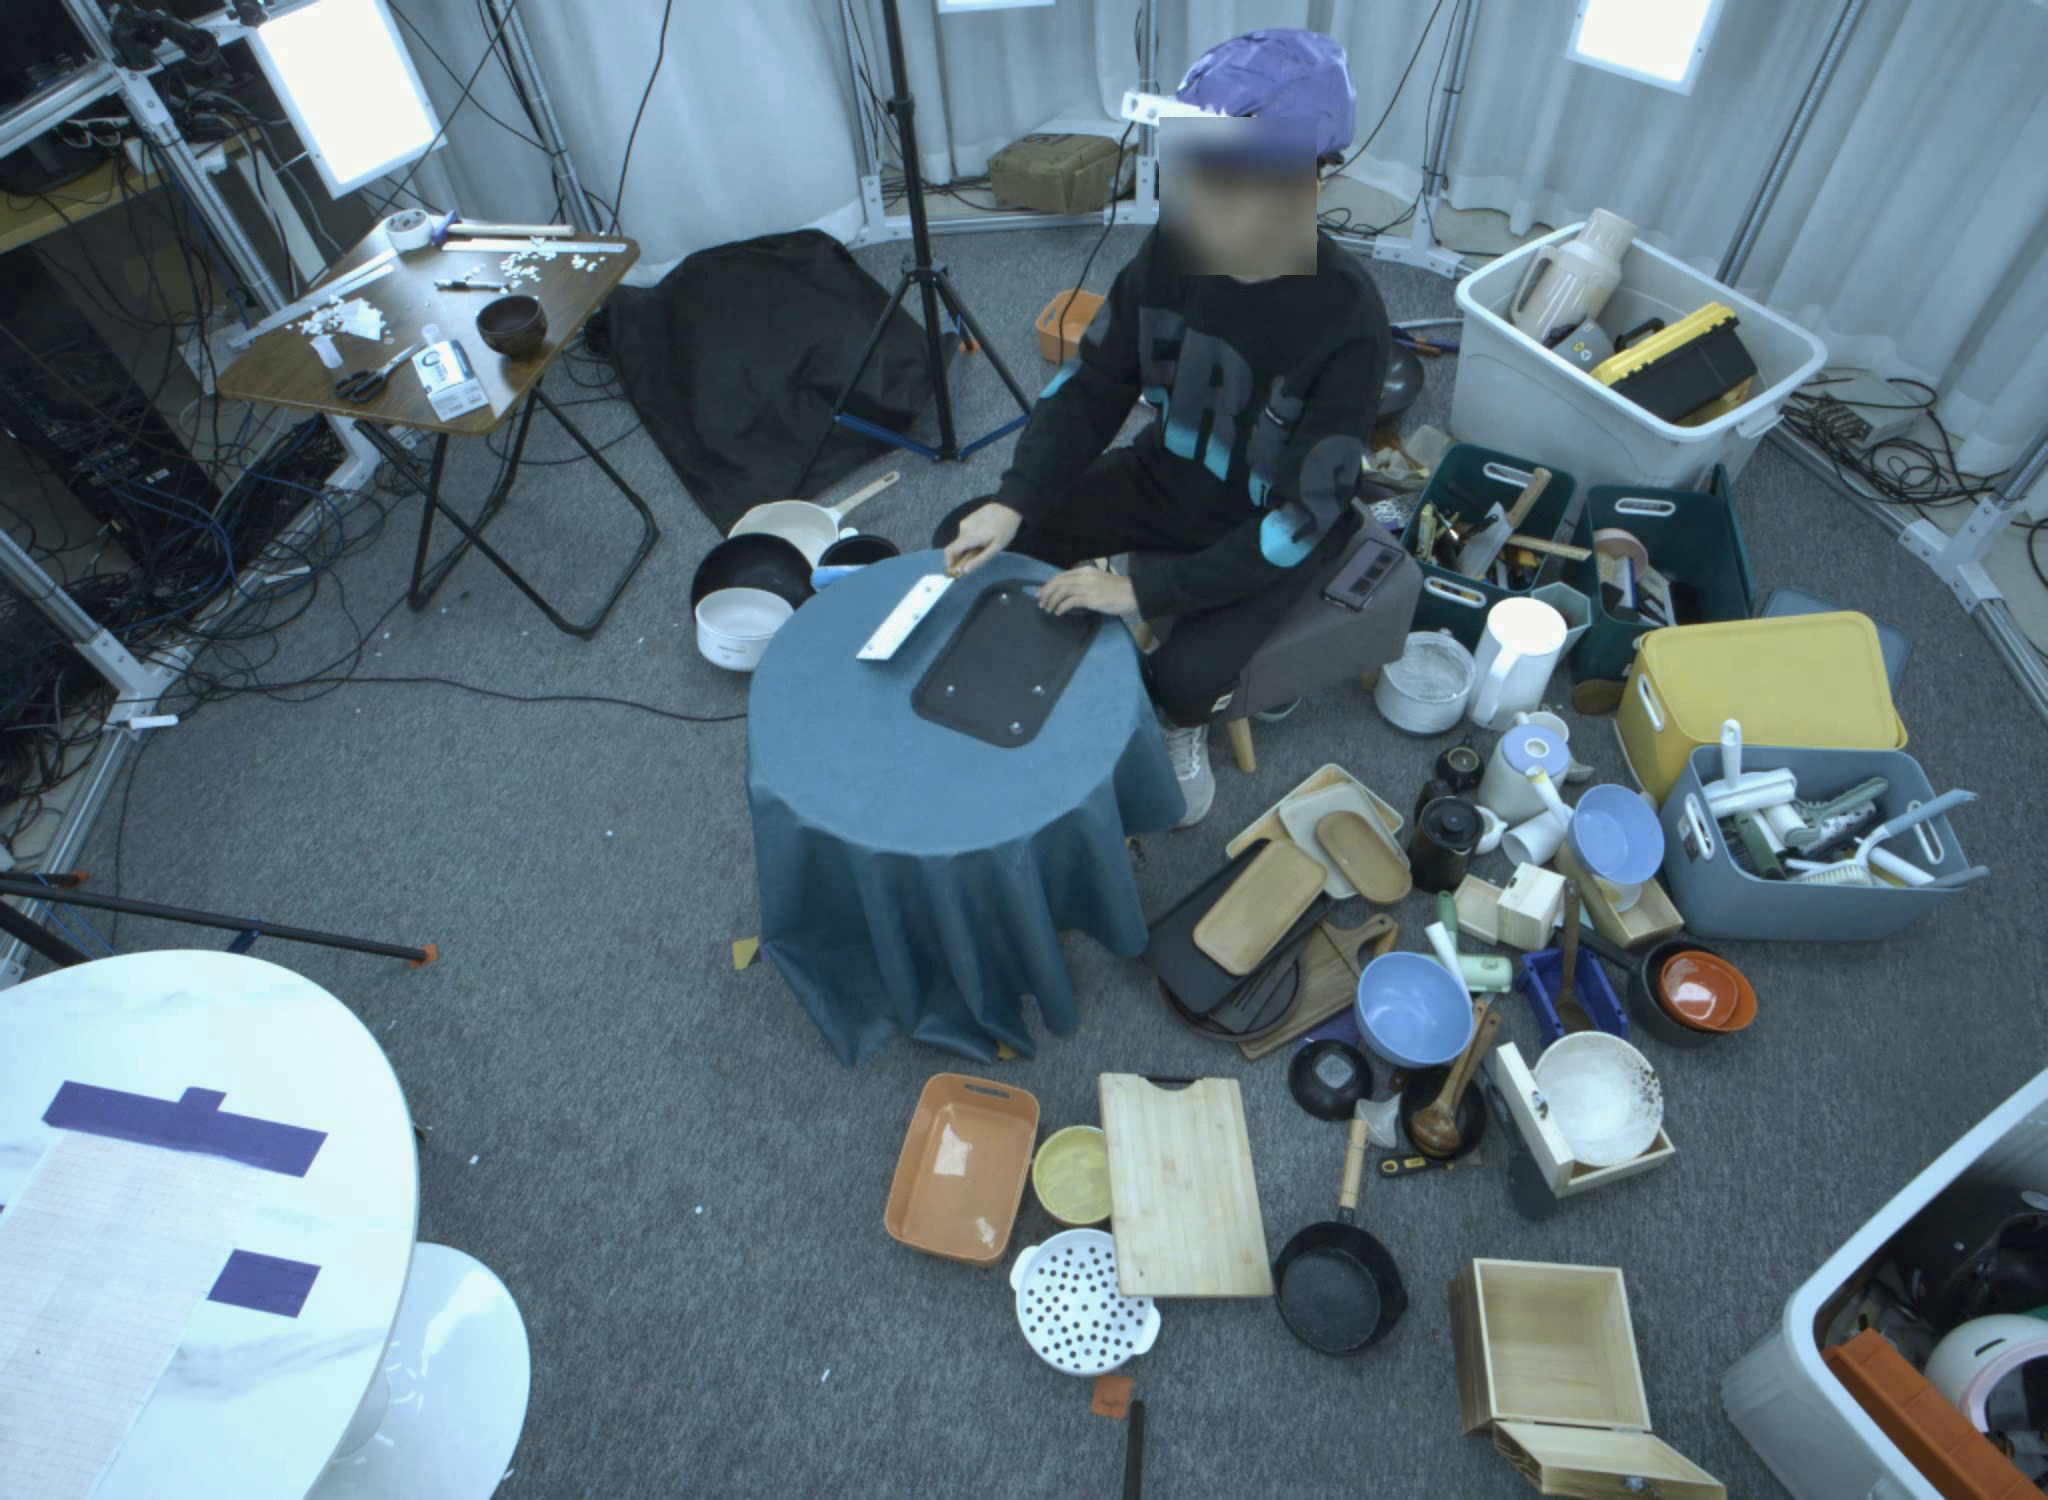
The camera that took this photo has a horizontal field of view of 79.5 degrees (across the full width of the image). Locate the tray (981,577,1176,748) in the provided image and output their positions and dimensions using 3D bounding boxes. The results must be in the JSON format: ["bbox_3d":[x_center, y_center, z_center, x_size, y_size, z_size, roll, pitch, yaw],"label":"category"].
[{"bbox_3d":[0.089,-0.147,1.883,0.208,0.010,0.326,26,60,19],"label":"tray"}]

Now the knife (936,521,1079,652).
[{"bbox_3d":[-0.030,-0.257,1.925,0.307,0.021,0.091,-49,31,-22],"label":"knife"}]
